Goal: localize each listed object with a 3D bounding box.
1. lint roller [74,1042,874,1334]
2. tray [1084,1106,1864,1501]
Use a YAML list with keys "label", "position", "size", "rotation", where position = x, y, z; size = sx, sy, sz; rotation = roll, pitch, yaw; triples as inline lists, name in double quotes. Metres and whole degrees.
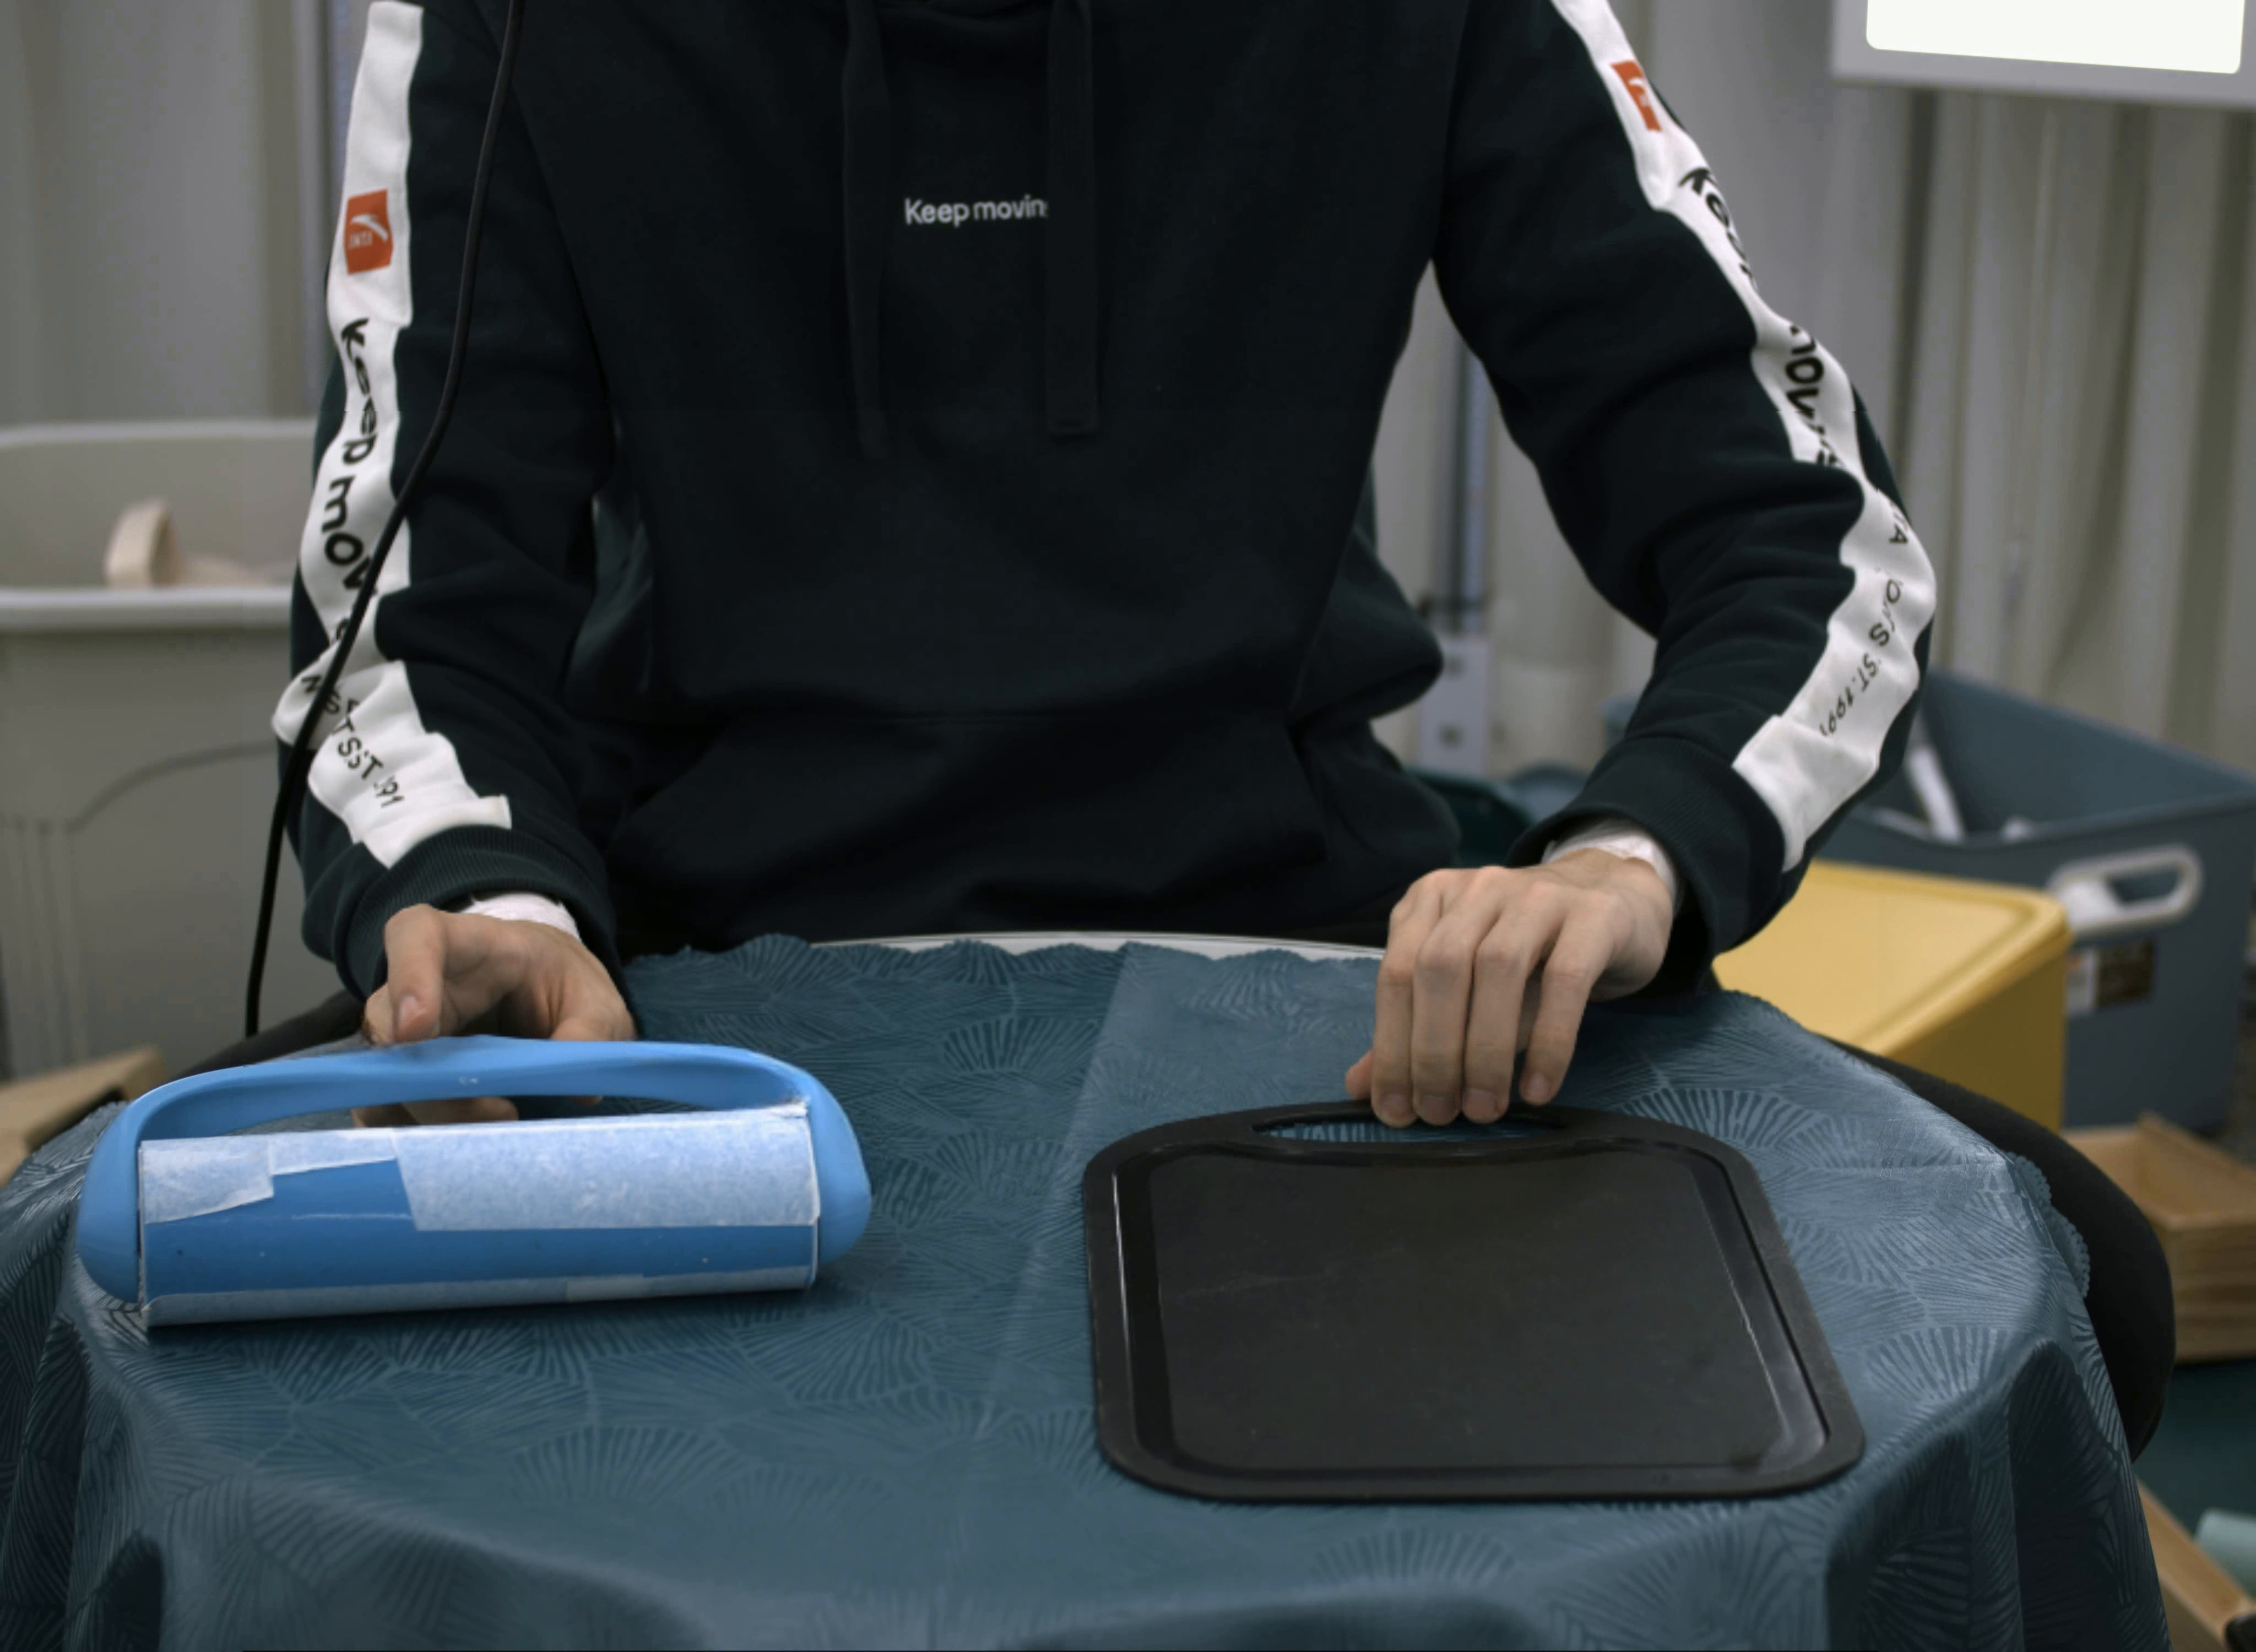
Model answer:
- label: "lint roller"
  position: [-0.199, 0.095, 1.569]
  size: [0.229, 0.068, 0.178]
  rotation: [-5, 17, -12]
- label: "tray"
  position: [0.092, 0.132, 1.537]
  size: [0.210, 0.010, 0.323]
  rotation: [0, 15, -1]
